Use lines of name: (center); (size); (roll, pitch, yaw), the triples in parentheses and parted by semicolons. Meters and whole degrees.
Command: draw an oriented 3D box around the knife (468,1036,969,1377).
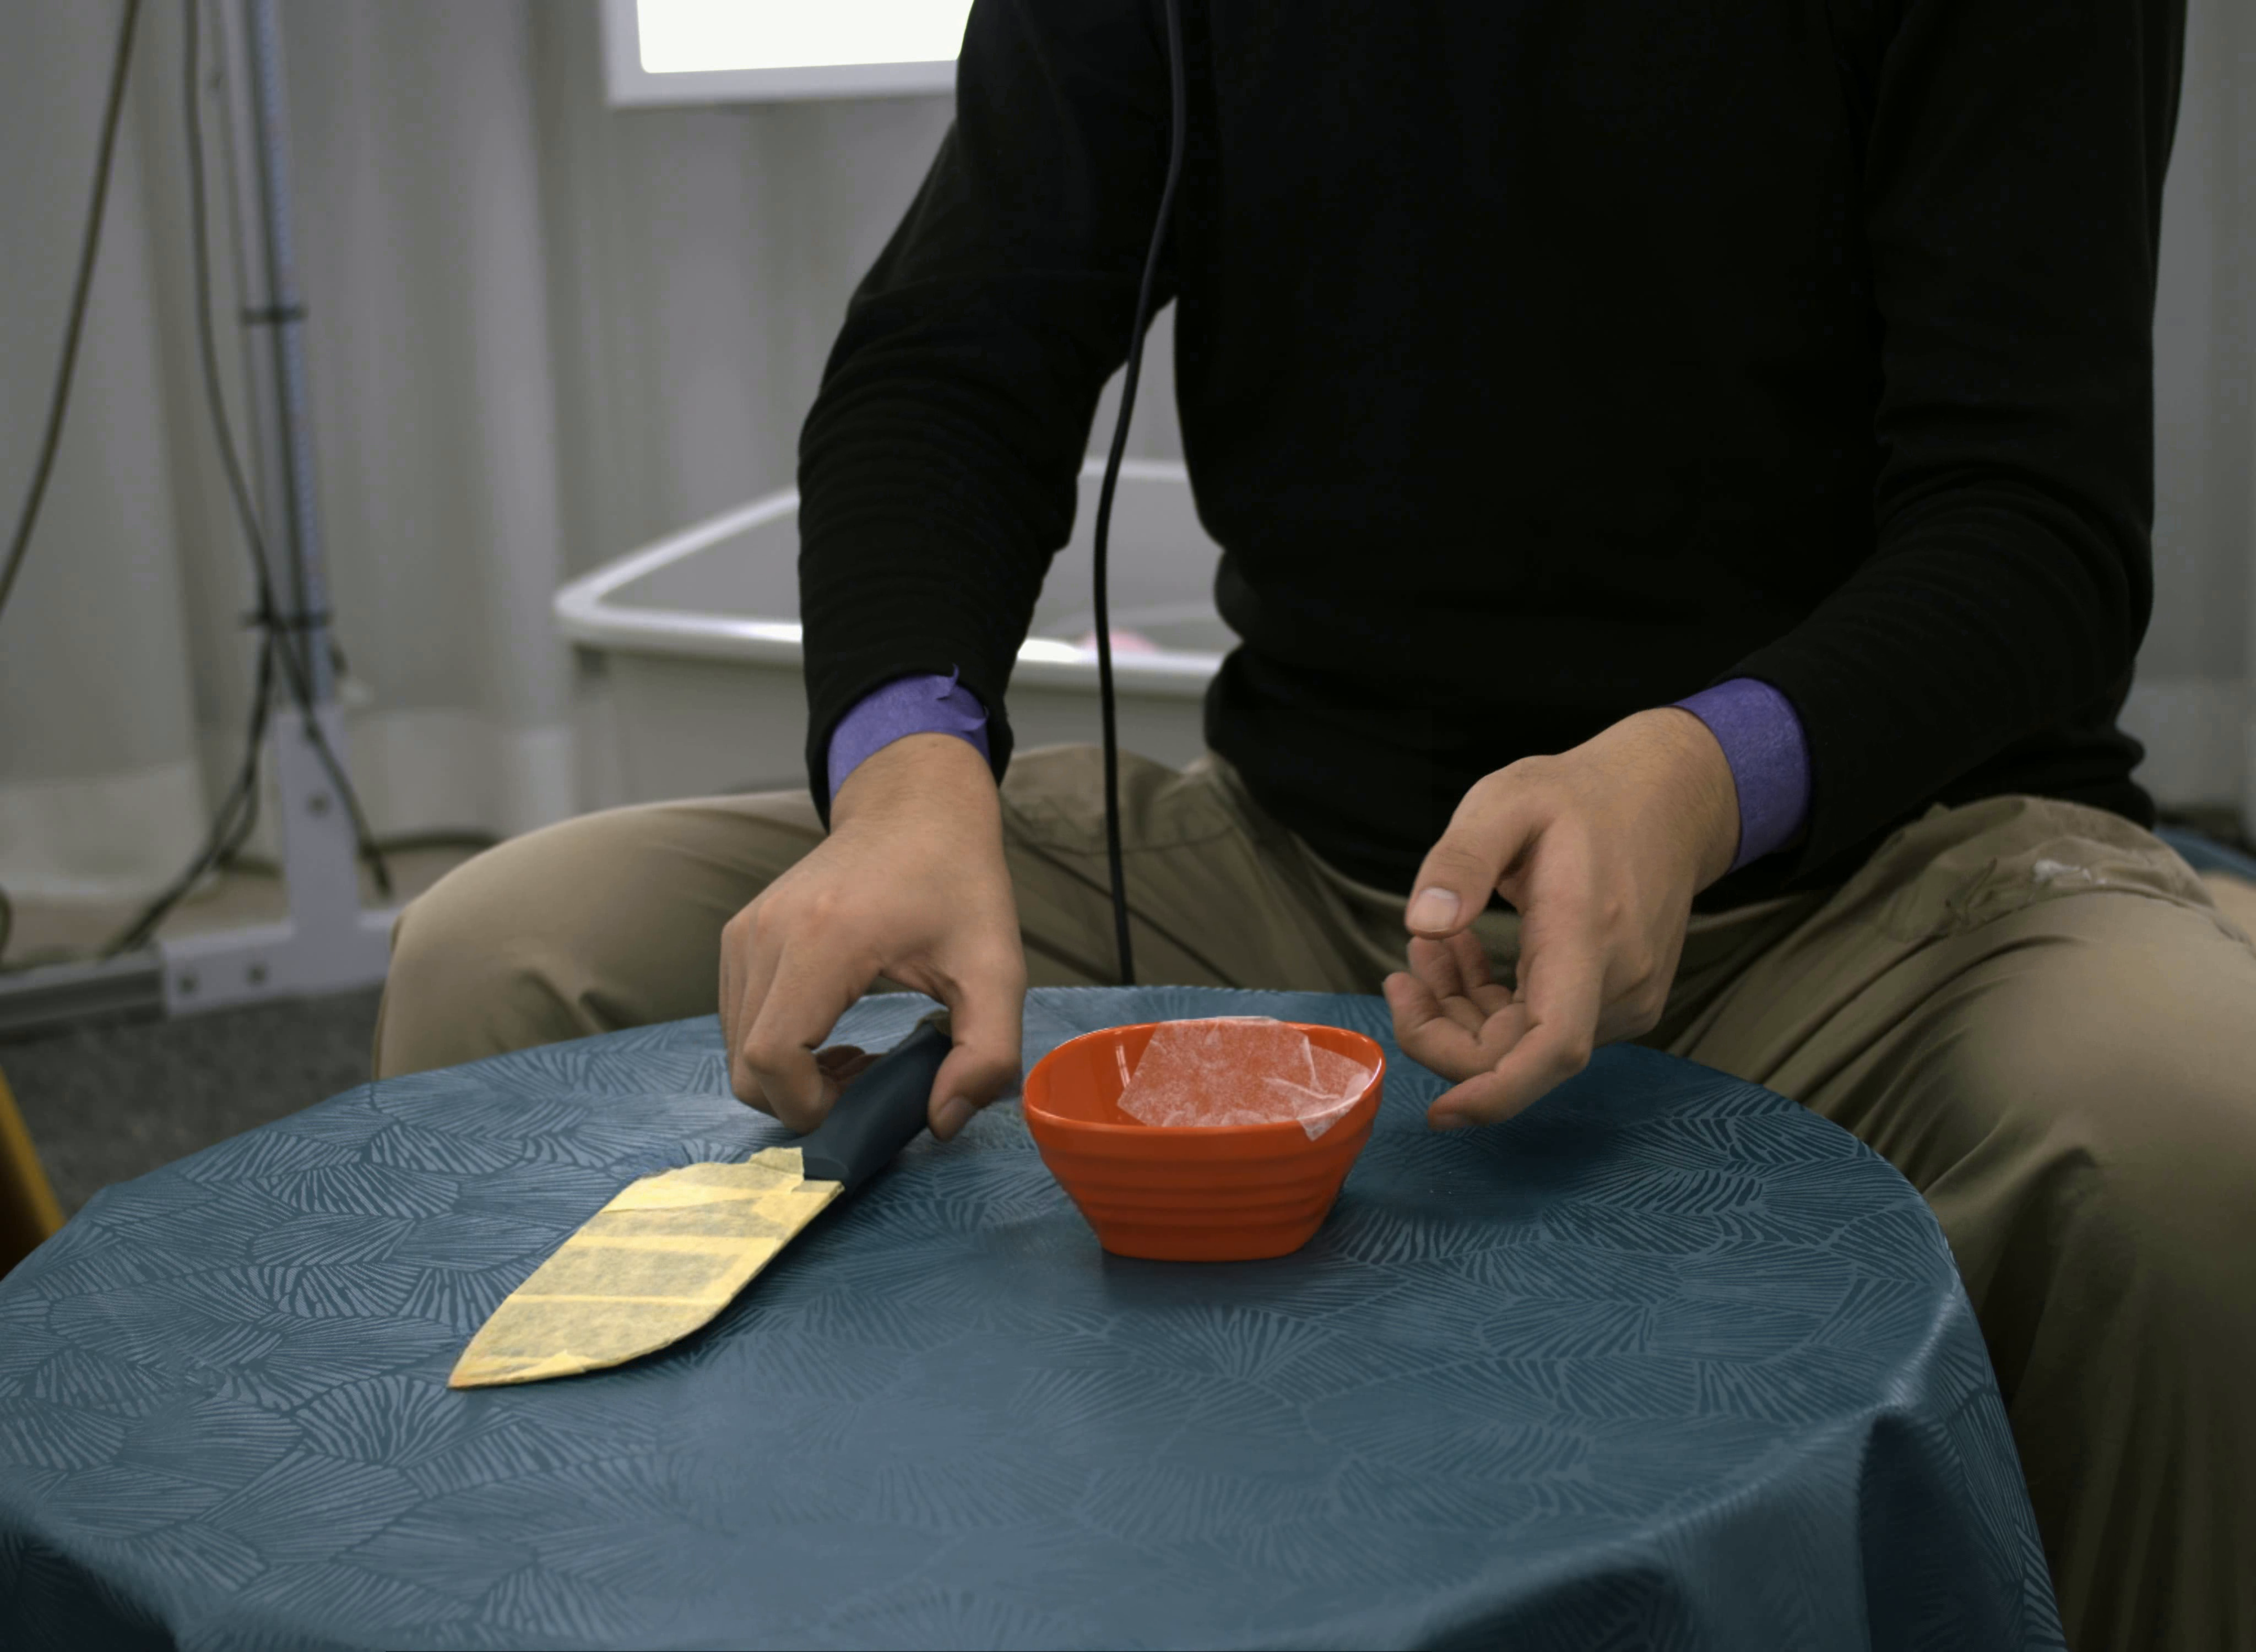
knife: (-0.122, 0.118, 1.696); (0.081, 0.027, 0.290); (3, 17, 23)

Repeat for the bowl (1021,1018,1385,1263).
bowl: (0.025, 0.098, 1.671); (0.118, 0.051, 0.120); (-4, 15, 1)
